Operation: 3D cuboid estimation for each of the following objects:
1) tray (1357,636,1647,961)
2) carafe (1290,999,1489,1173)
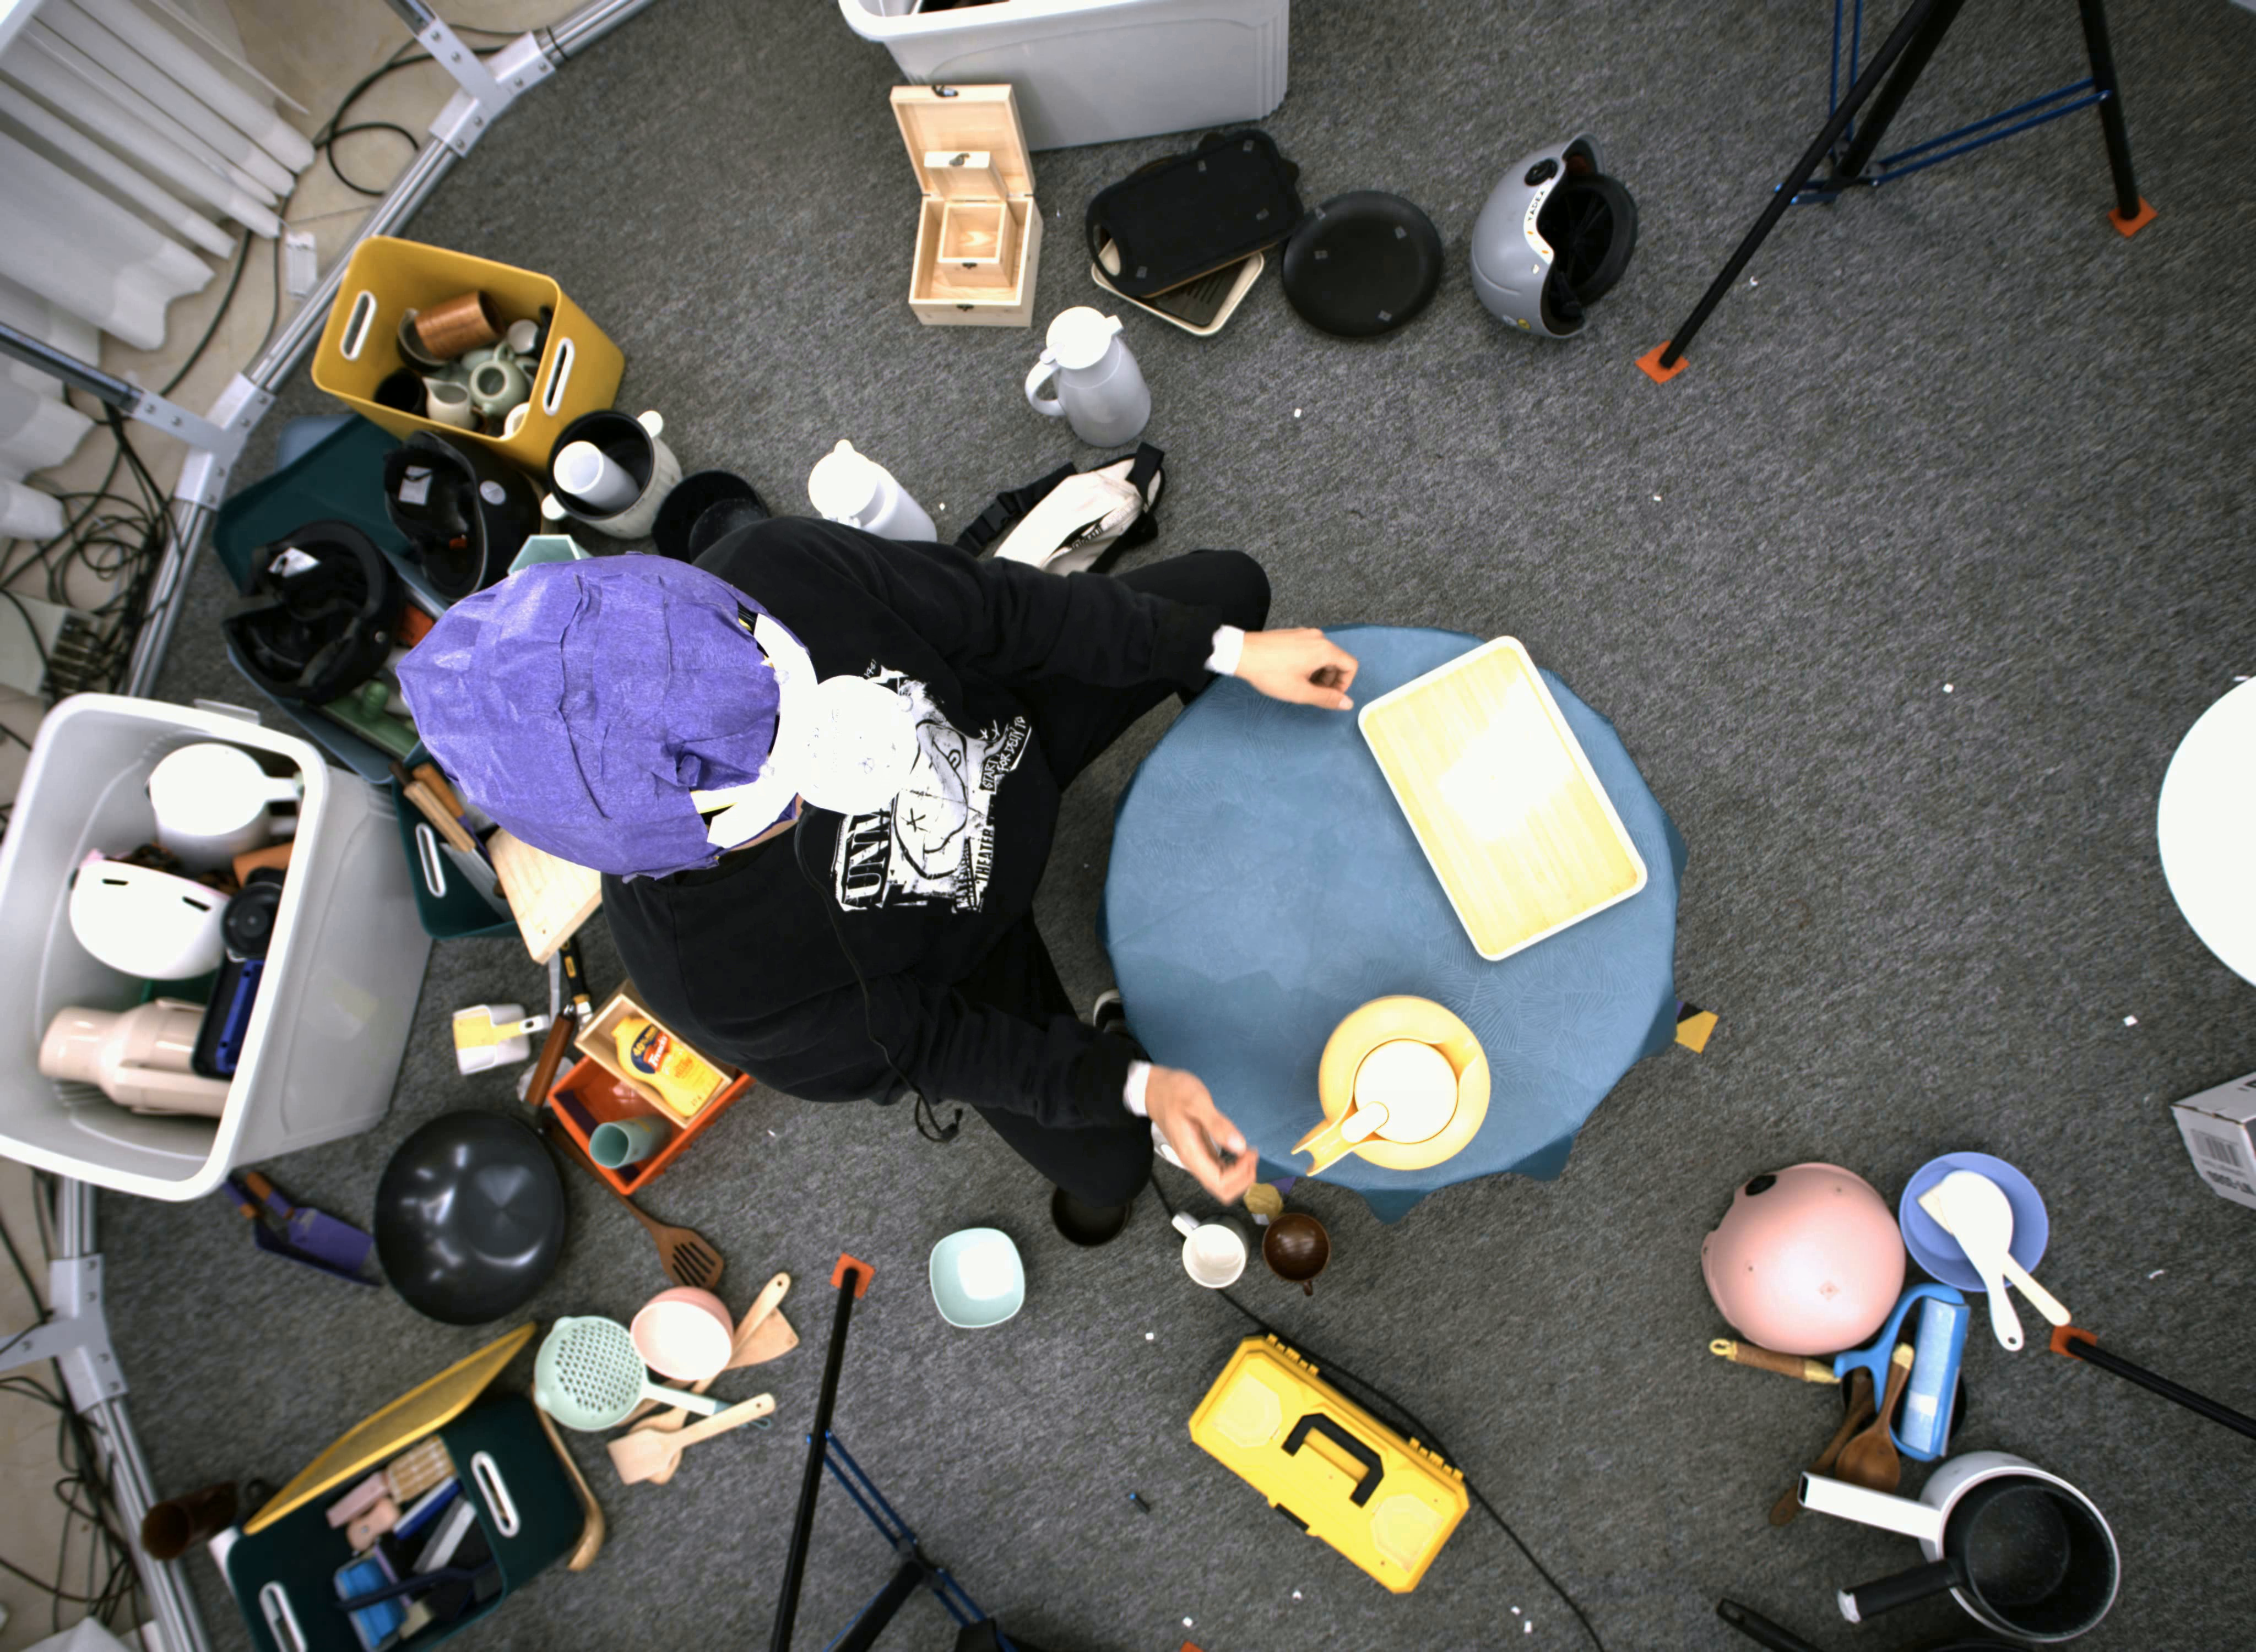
[{"bbox_3d":[0.386,-0.031,1.430,0.193,0.027,0.298,-27,83,8],"label":"tray"},{"bbox_3d":[0.246,0.255,1.324,0.203,0.261,0.162,-35,78,5],"label":"carafe"}]
